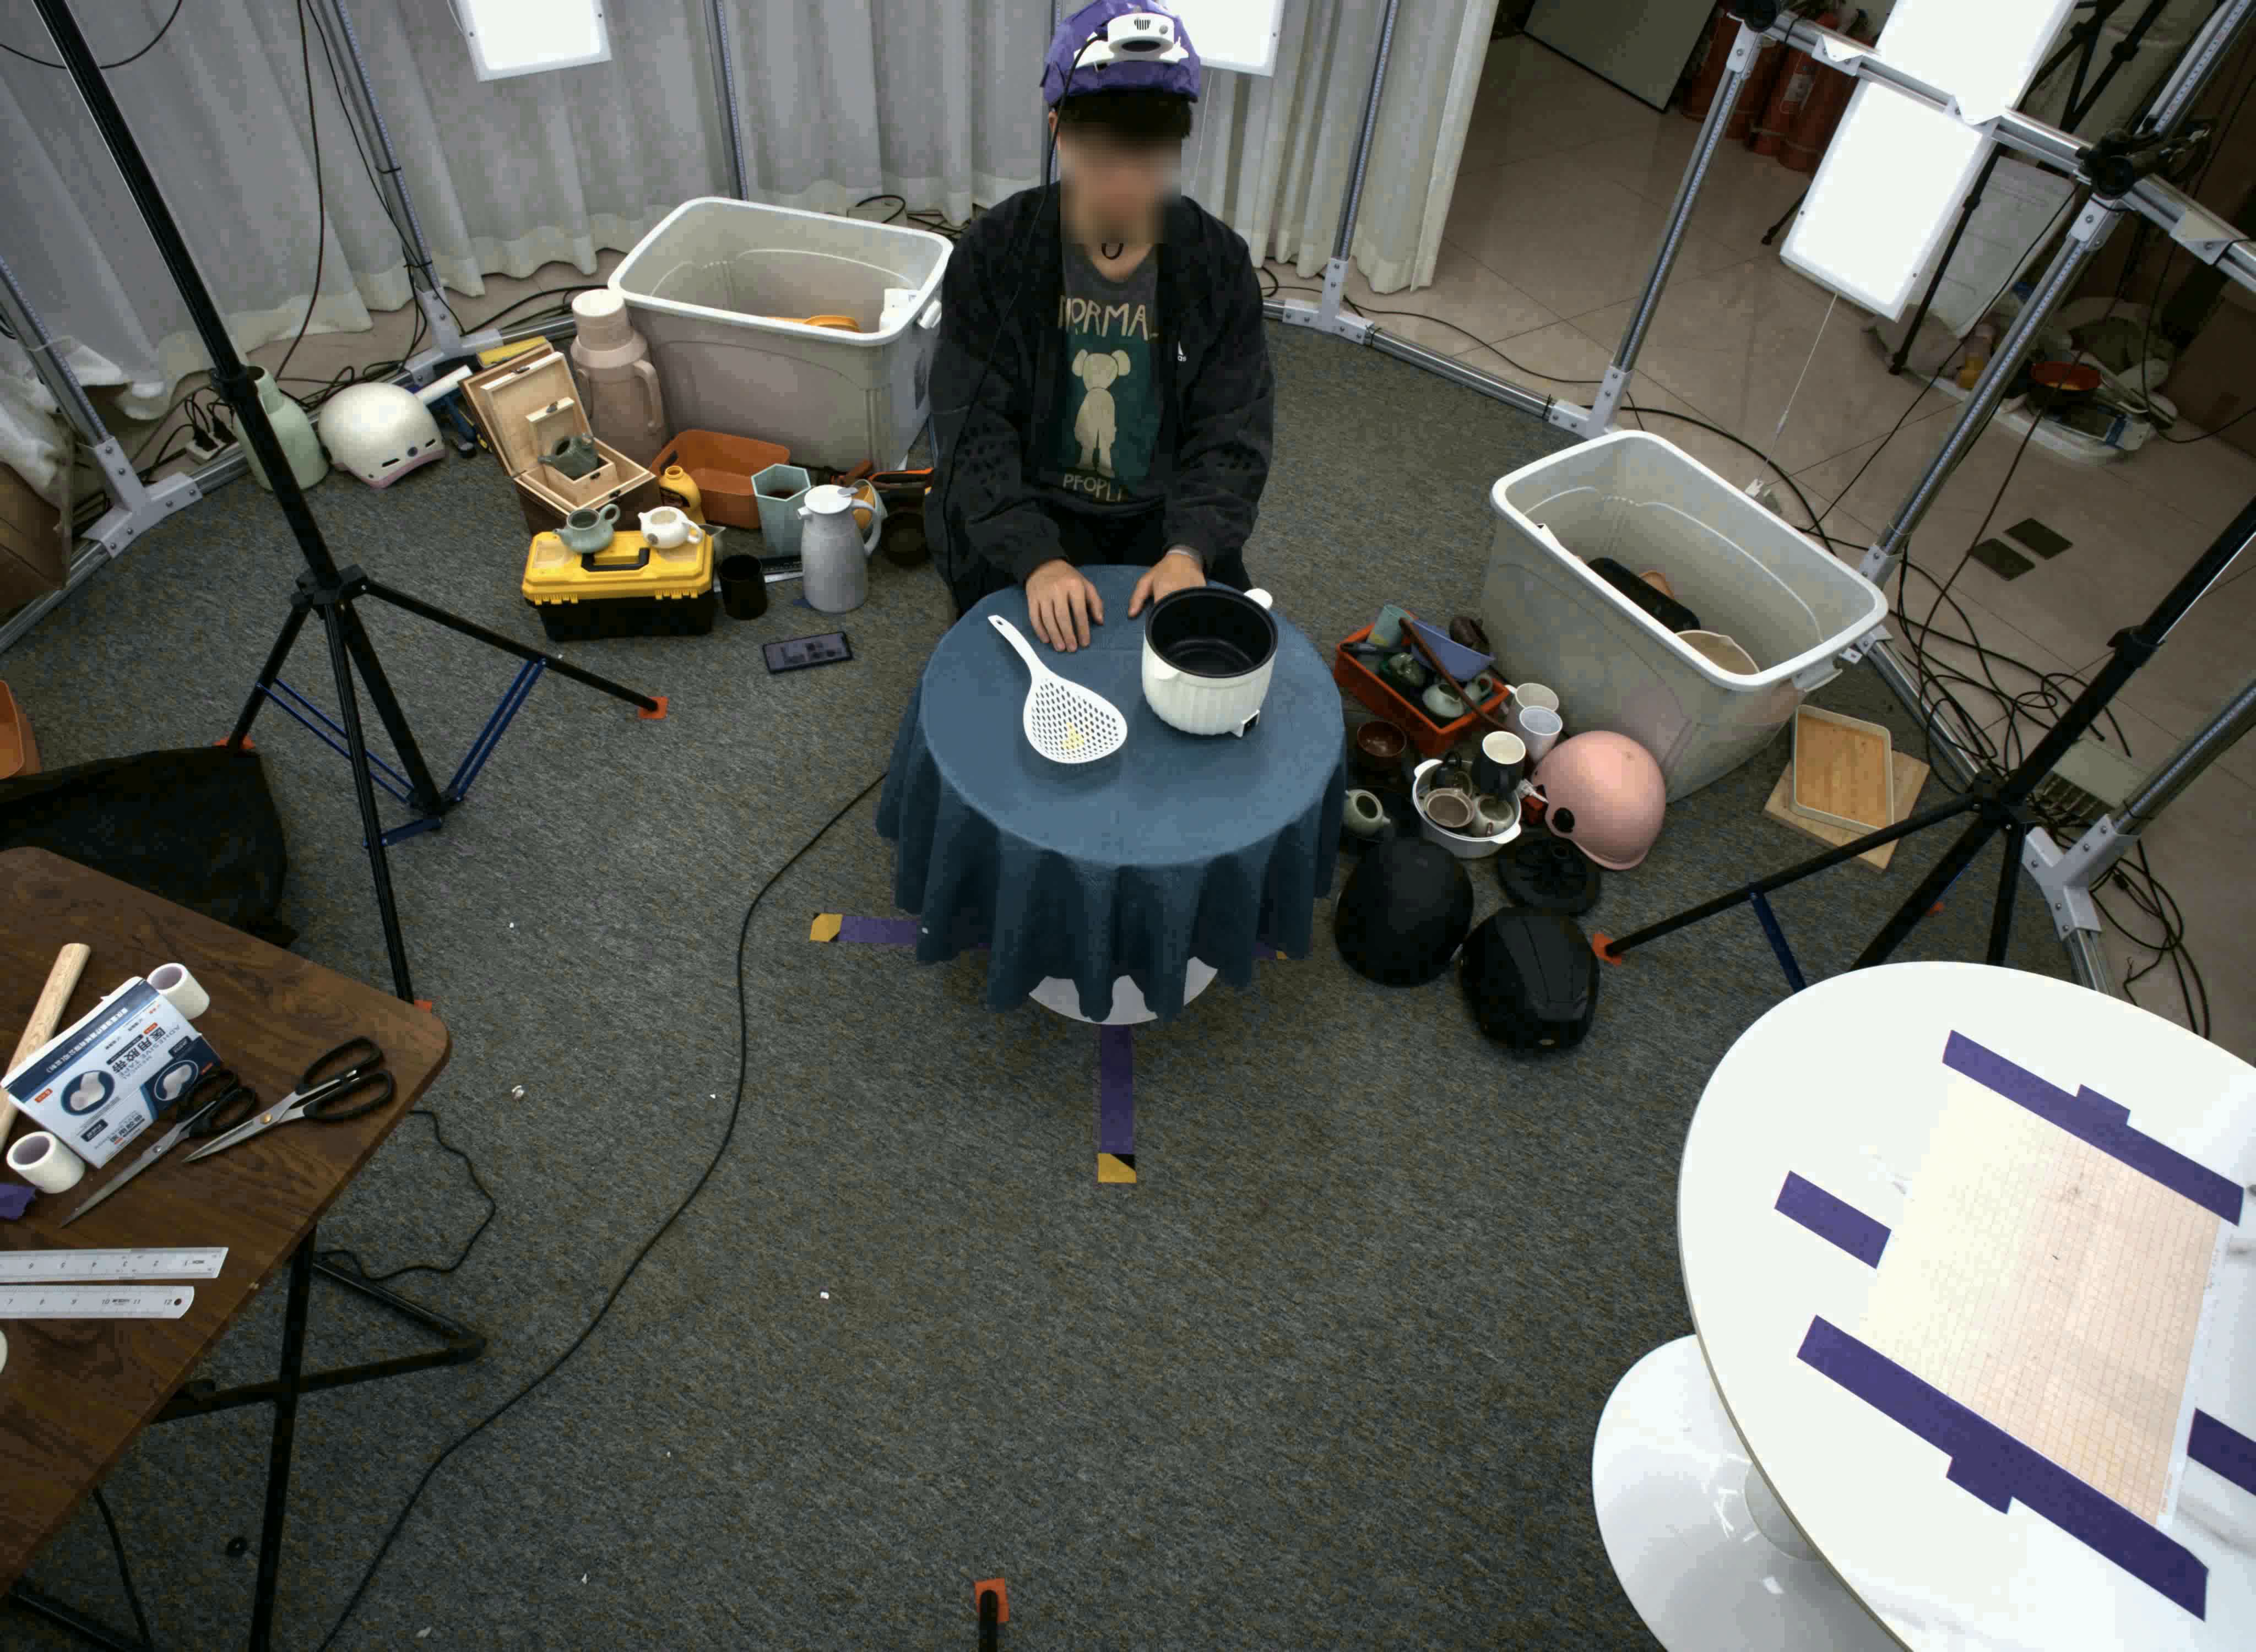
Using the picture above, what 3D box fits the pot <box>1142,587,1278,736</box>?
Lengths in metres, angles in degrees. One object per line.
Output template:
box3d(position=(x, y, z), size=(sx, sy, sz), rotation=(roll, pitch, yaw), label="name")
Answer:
box3d(position=(0.103, -0.224, 1.779), size=(0.193, 0.139, 0.243), rotation=(37, 55, 22), label="pot")

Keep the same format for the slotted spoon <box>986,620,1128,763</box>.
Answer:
box3d(position=(-0.120, -0.201, 1.807), size=(0.137, 0.049, 0.356), rotation=(-19, 53, -18), label="slotted spoon")
